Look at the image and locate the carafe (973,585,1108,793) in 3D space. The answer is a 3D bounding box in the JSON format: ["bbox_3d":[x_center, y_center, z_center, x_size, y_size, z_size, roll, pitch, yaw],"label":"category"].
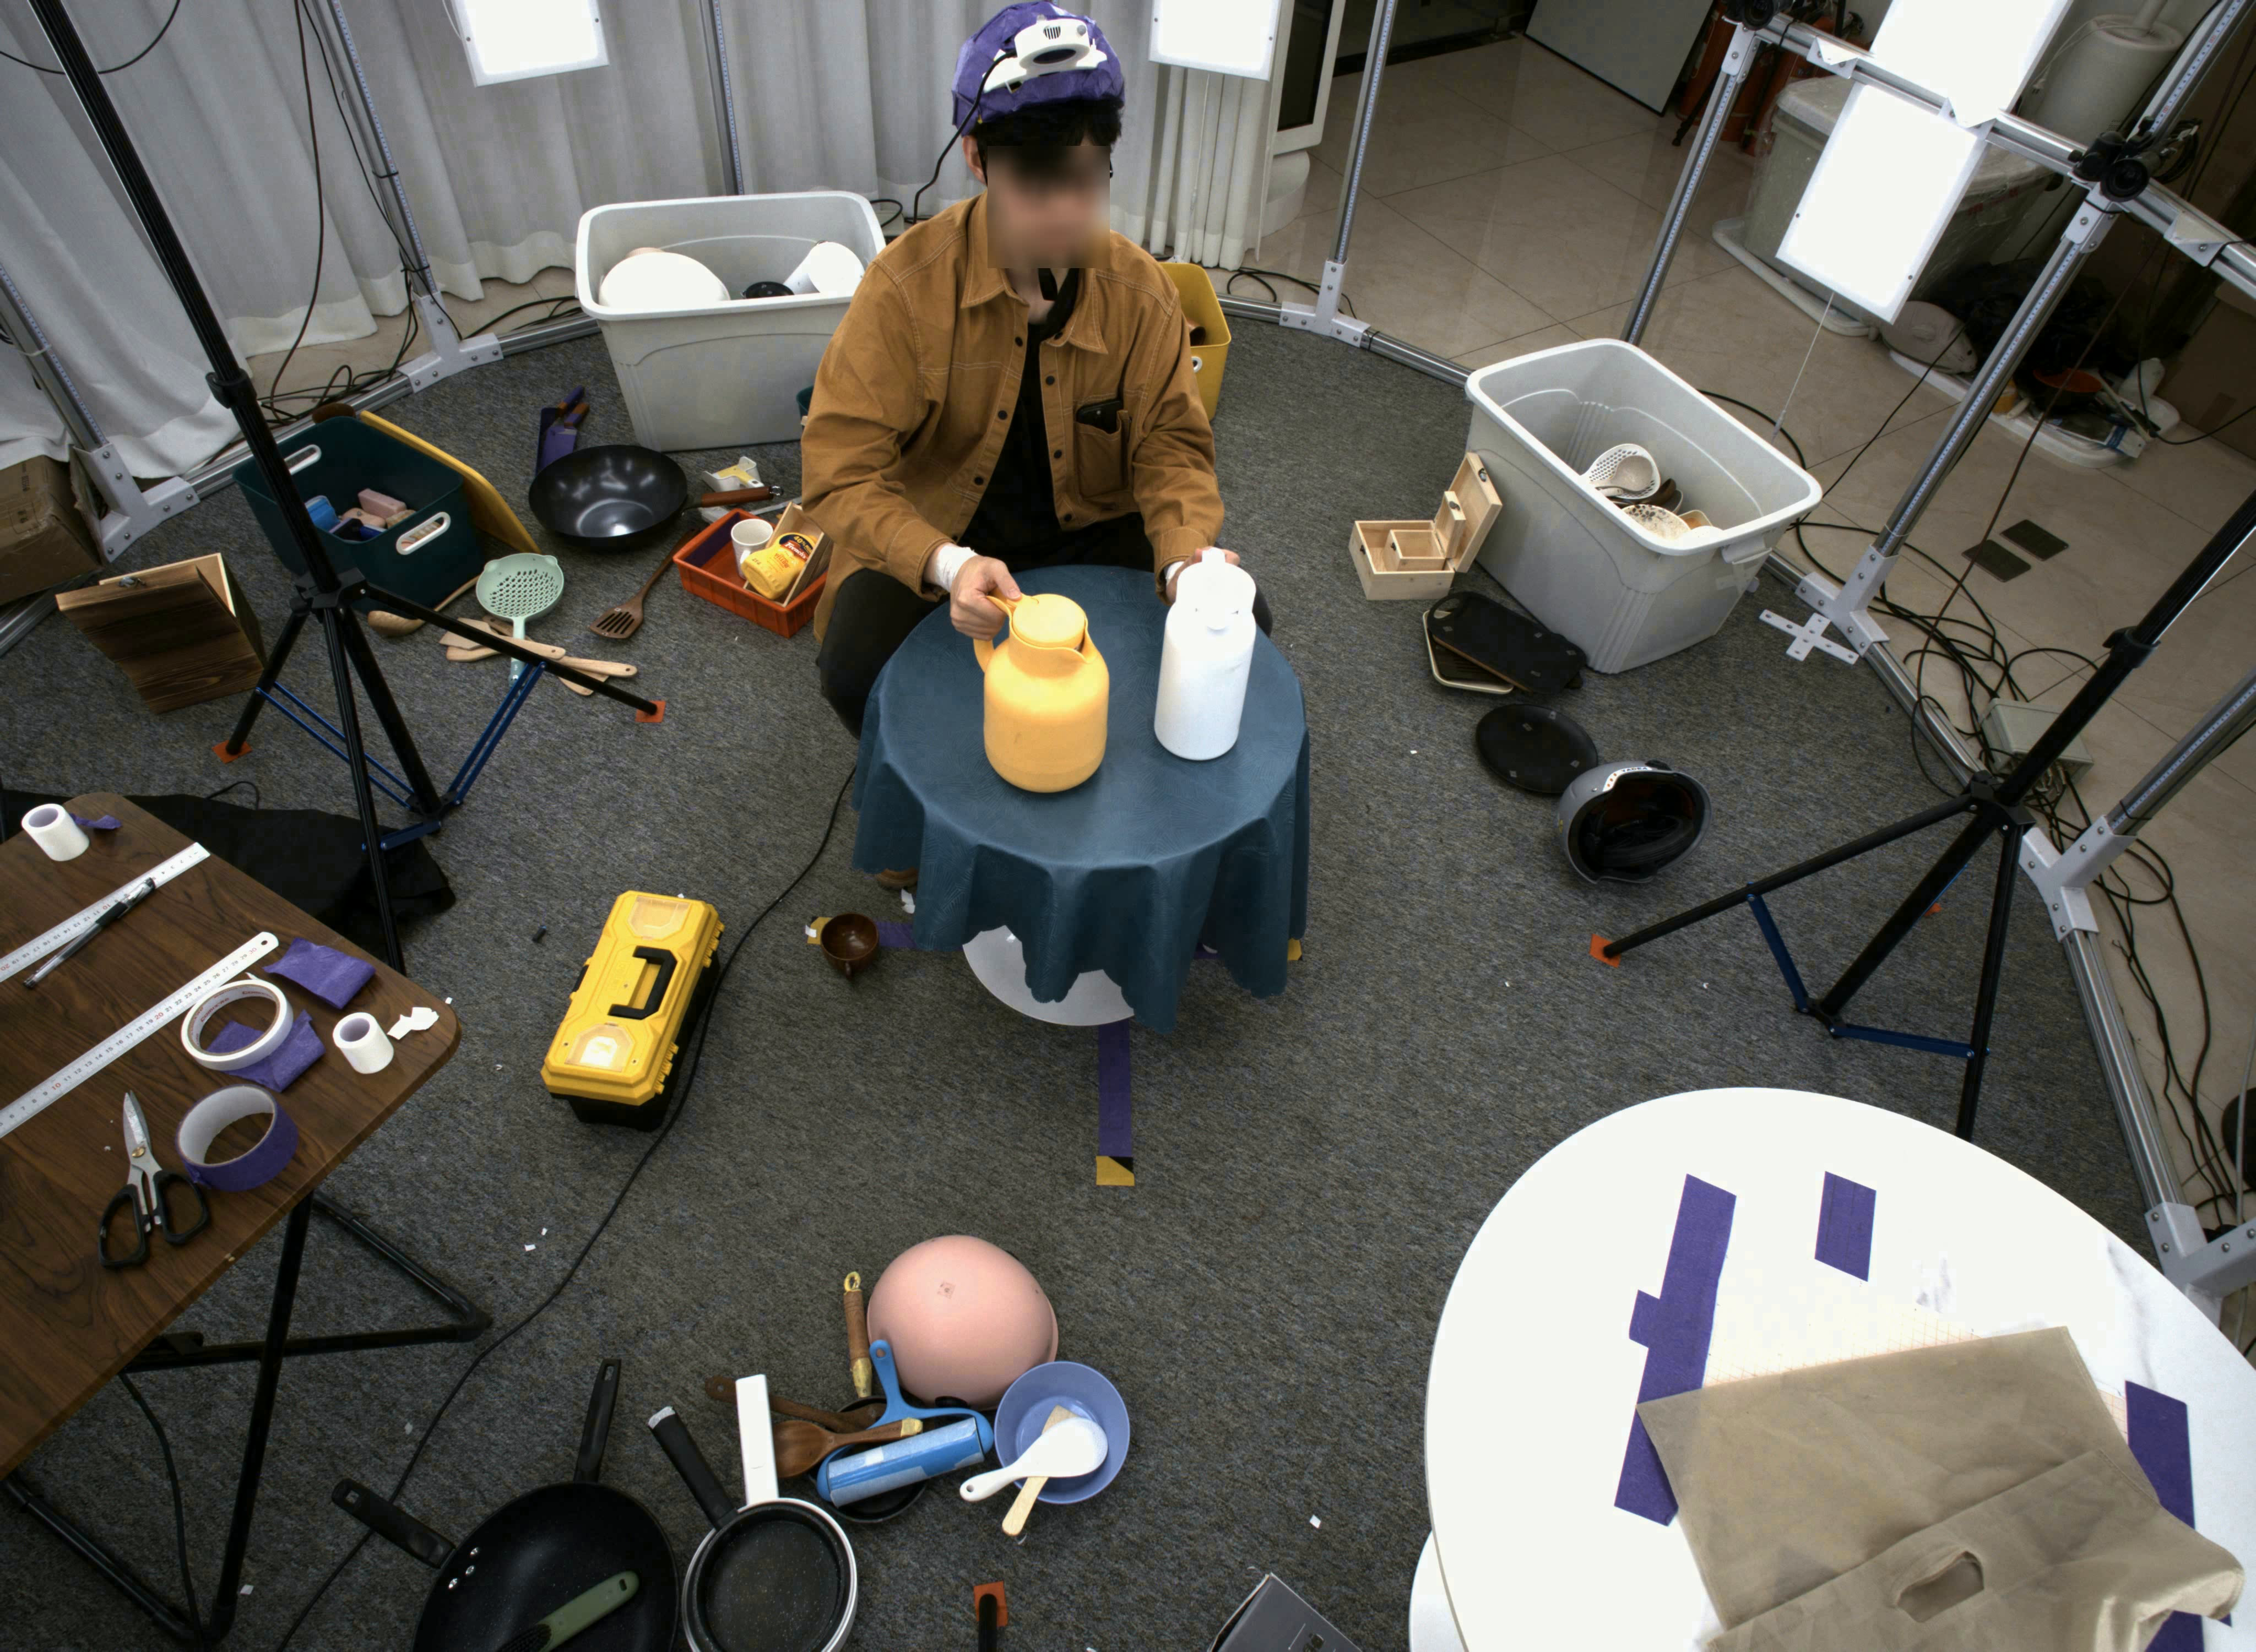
[{"bbox_3d":[-0.120,-0.186,1.654,0.205,0.254,0.165,39,55,24],"label":"carafe"}]

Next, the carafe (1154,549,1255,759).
[{"bbox_3d":[0.100,-0.229,1.701,0.124,0.262,0.177,1,49,0],"label":"carafe"}]
